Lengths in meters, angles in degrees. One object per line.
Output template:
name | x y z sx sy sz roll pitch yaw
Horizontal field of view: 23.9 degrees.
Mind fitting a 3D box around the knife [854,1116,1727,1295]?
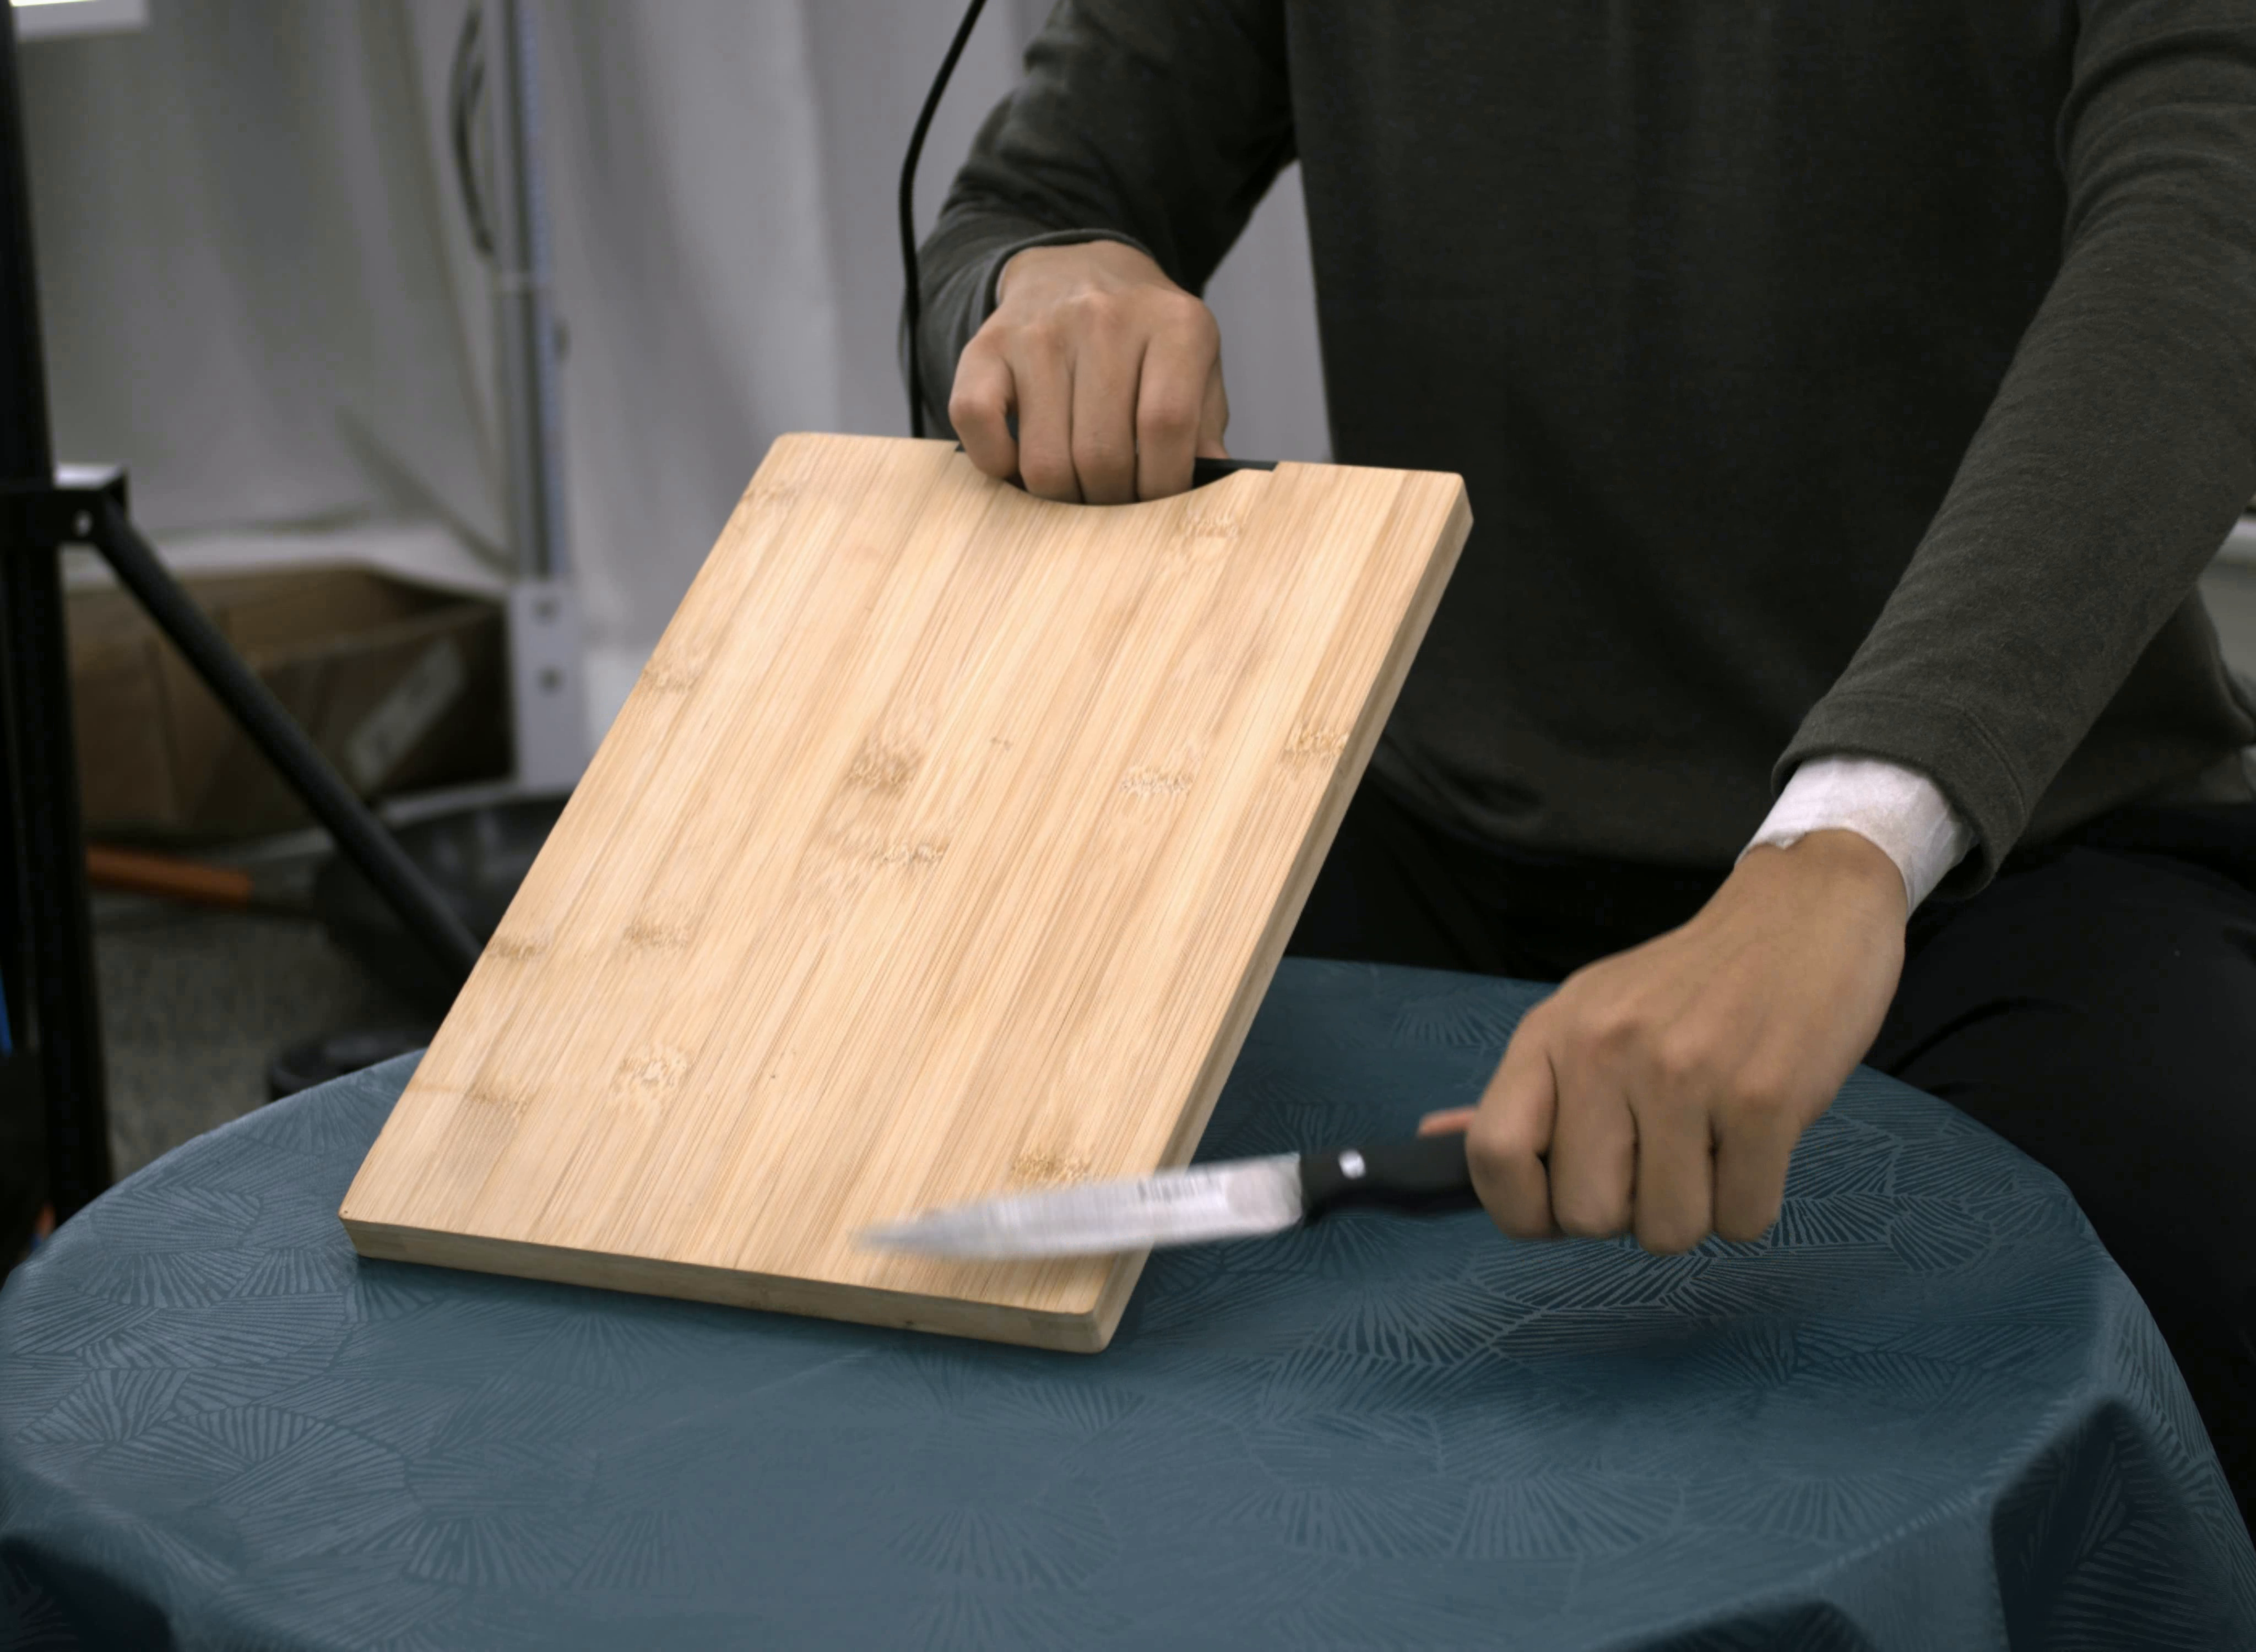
knife | 0.042 0.104 1.427 0.238 0.016 0.025 -9 49 7

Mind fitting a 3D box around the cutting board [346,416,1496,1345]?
cutting board | -0.056 0.005 1.592 0.254 0.023 0.348 4 47 24
